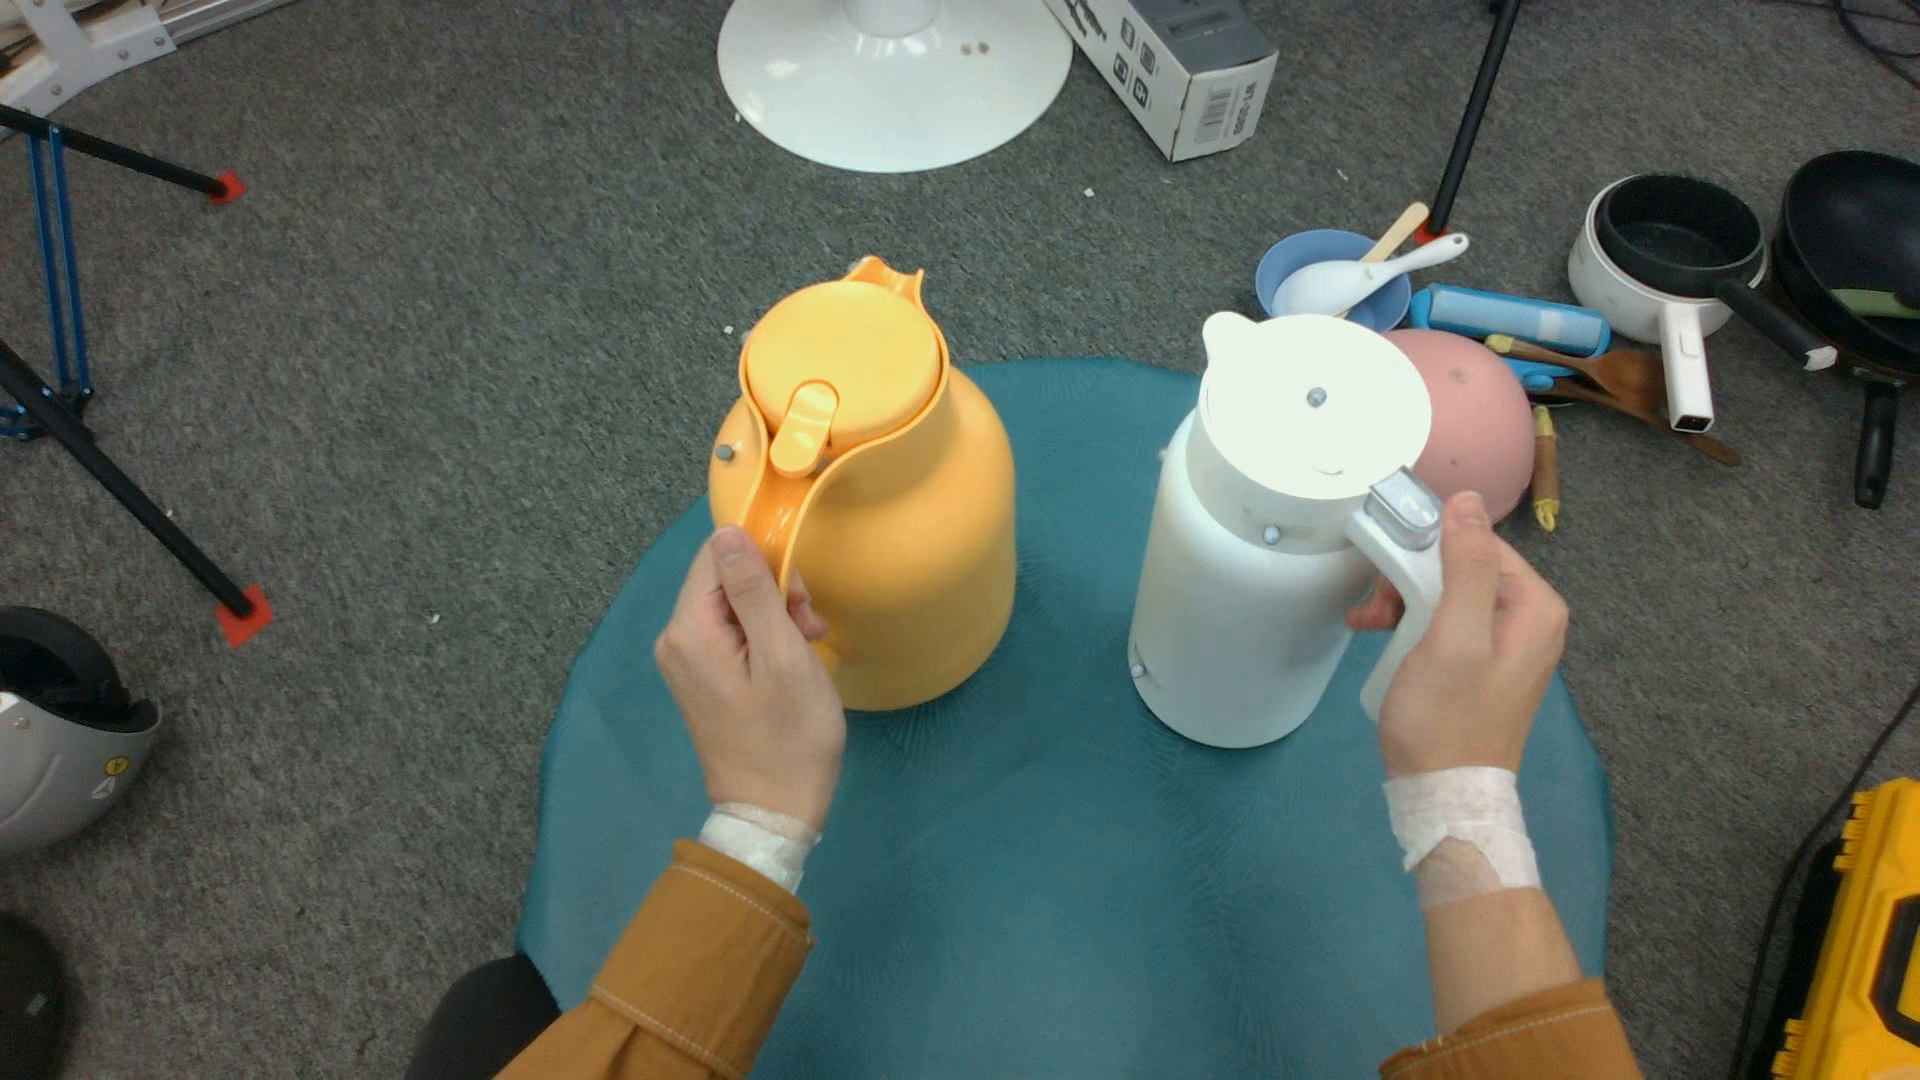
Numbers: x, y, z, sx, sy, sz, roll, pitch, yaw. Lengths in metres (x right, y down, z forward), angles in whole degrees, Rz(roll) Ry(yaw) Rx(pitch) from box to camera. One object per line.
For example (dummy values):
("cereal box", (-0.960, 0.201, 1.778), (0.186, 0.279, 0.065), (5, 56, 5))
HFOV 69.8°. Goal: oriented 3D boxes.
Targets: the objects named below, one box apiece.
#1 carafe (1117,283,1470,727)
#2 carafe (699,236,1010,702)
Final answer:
("carafe", (0.161, 0.007, 0.702), (0.124, 0.267, 0.173), (-30, 65, -18))
("carafe", (-0.063, -0.017, 0.721), (0.163, 0.259, 0.203), (17, 60, 14))
